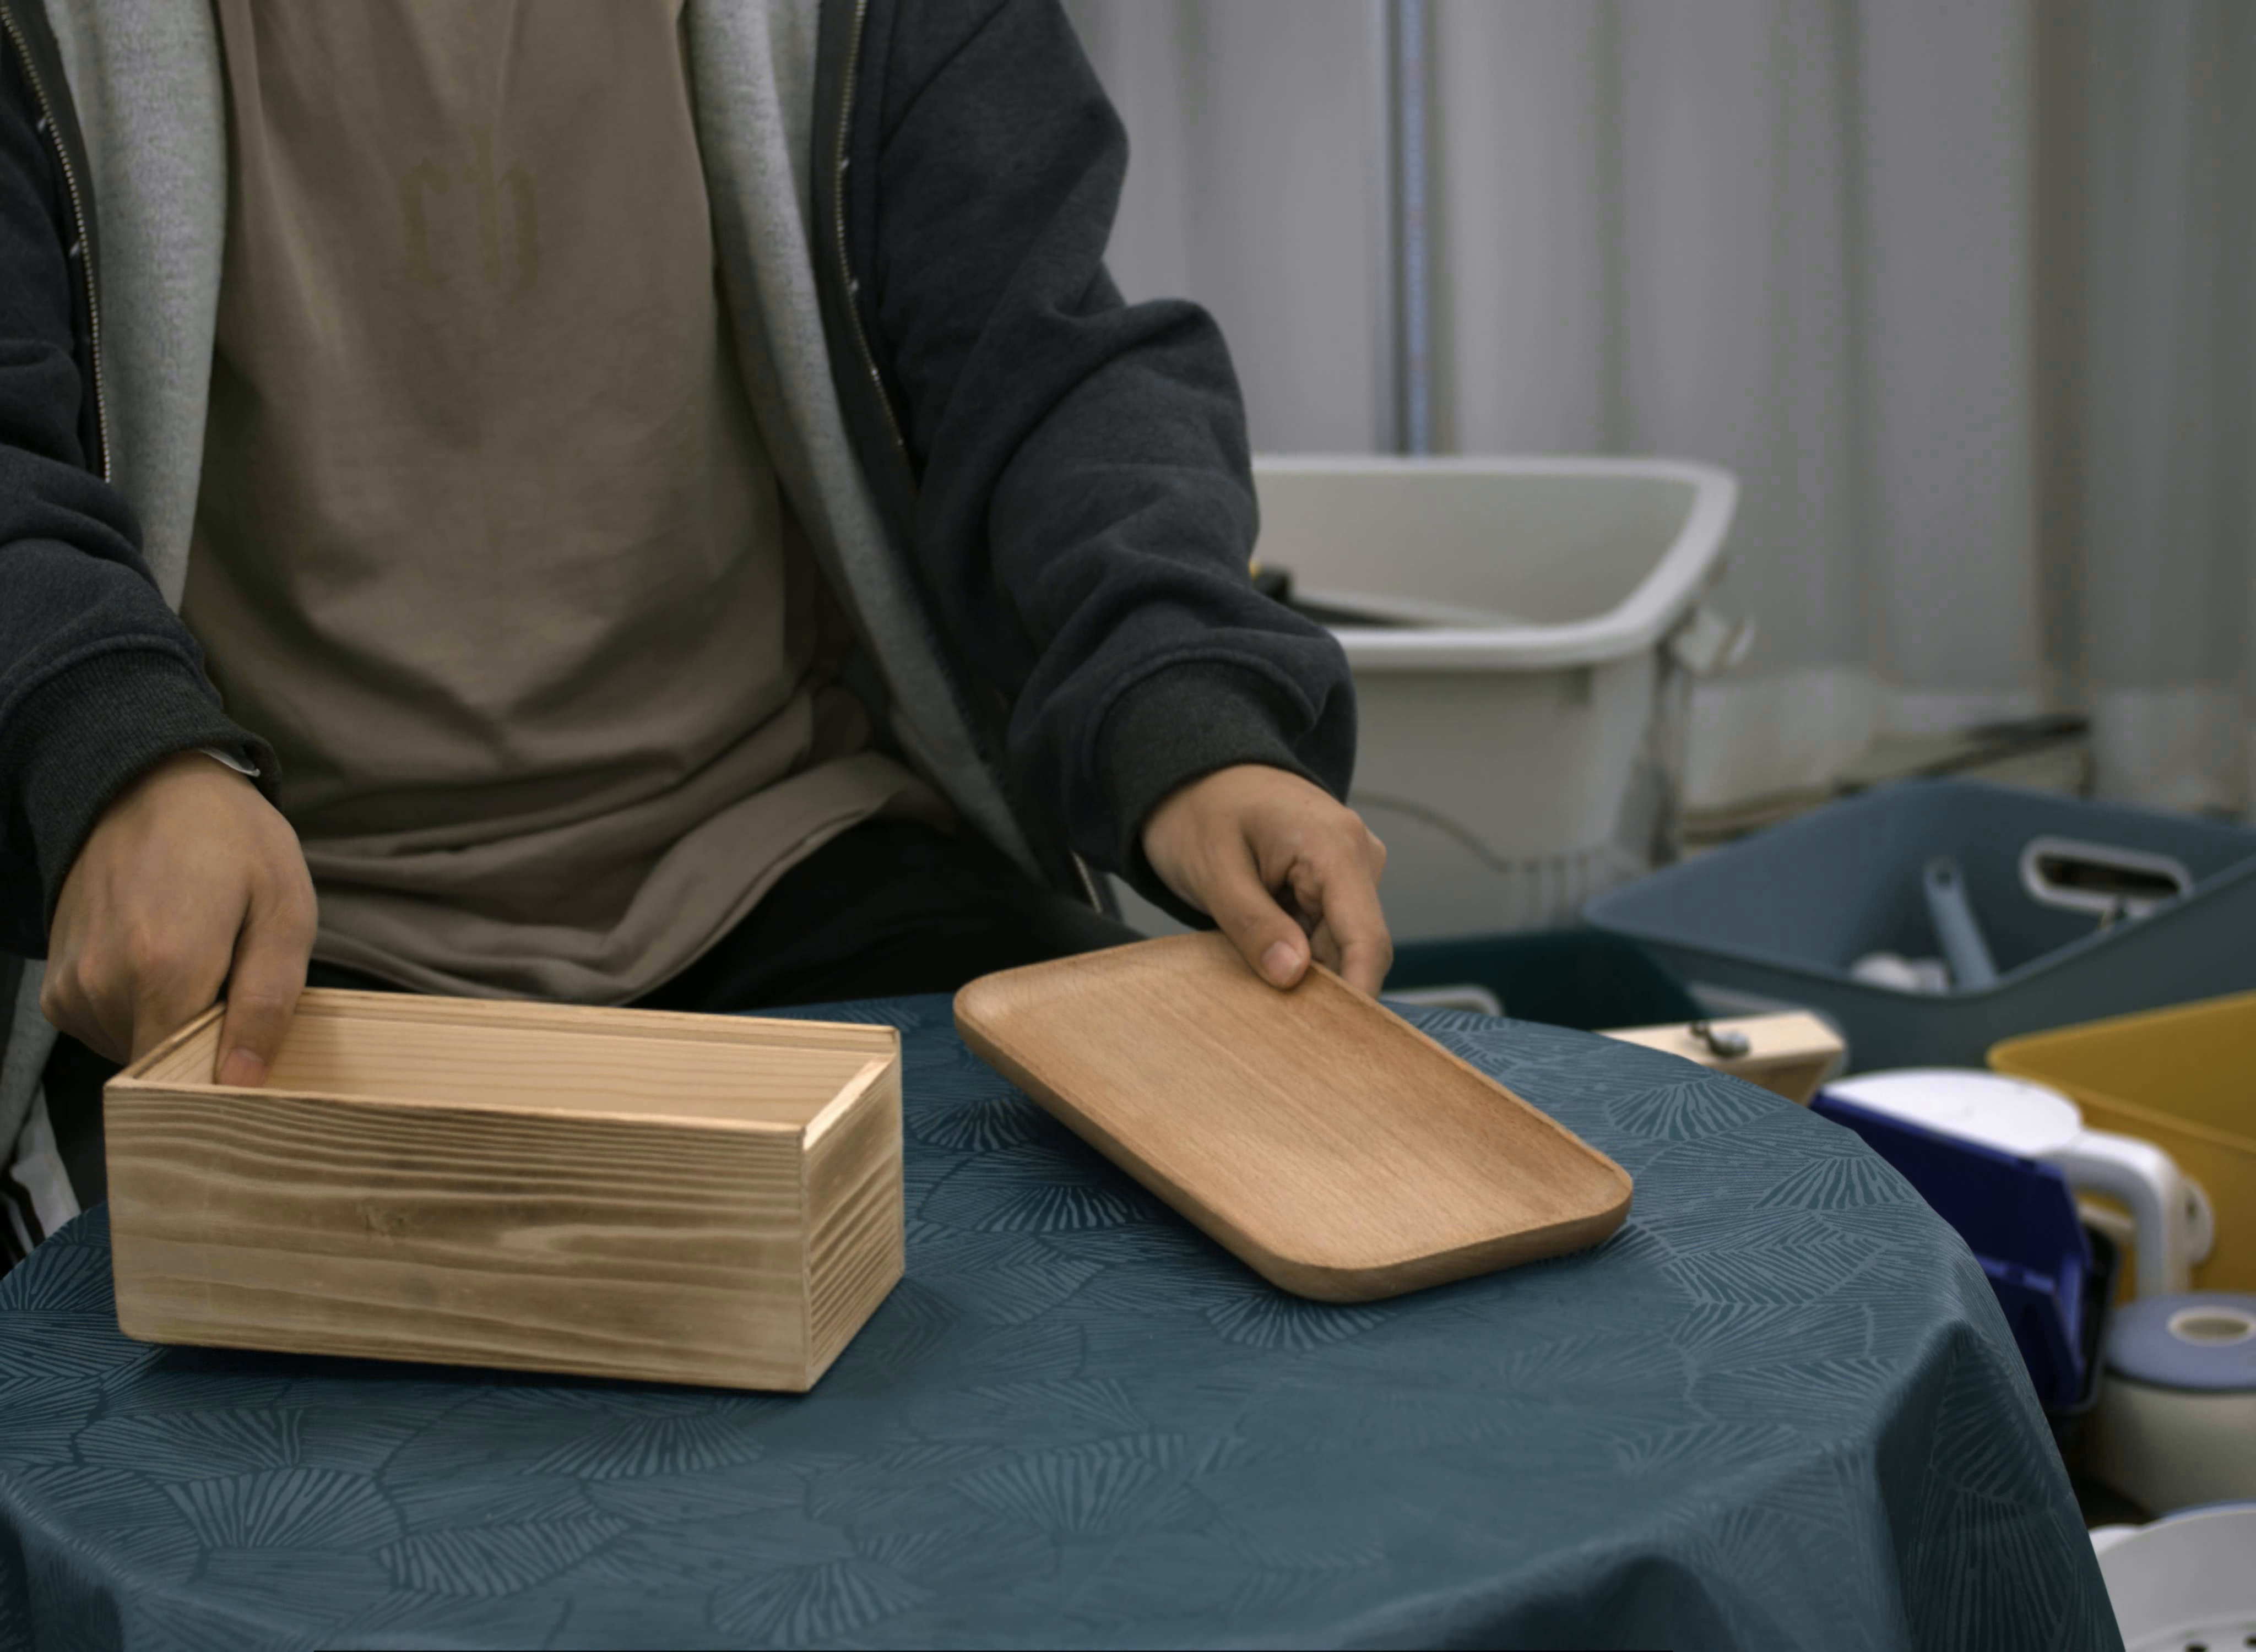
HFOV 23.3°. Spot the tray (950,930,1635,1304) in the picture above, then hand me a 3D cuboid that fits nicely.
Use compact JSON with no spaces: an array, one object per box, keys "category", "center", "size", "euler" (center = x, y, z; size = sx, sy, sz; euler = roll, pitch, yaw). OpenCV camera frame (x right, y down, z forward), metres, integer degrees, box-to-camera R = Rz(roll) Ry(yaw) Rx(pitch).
[{"category":"tray","center":[0.047,0.088,1.718],"size":[0.130,0.023,0.253],"euler":[-8,22,-27]}]

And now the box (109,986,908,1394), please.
[{"category":"box","center":[-0.180,0.106,1.615],"size":[0.211,0.080,0.108],"euler":[3,15,14]}]
